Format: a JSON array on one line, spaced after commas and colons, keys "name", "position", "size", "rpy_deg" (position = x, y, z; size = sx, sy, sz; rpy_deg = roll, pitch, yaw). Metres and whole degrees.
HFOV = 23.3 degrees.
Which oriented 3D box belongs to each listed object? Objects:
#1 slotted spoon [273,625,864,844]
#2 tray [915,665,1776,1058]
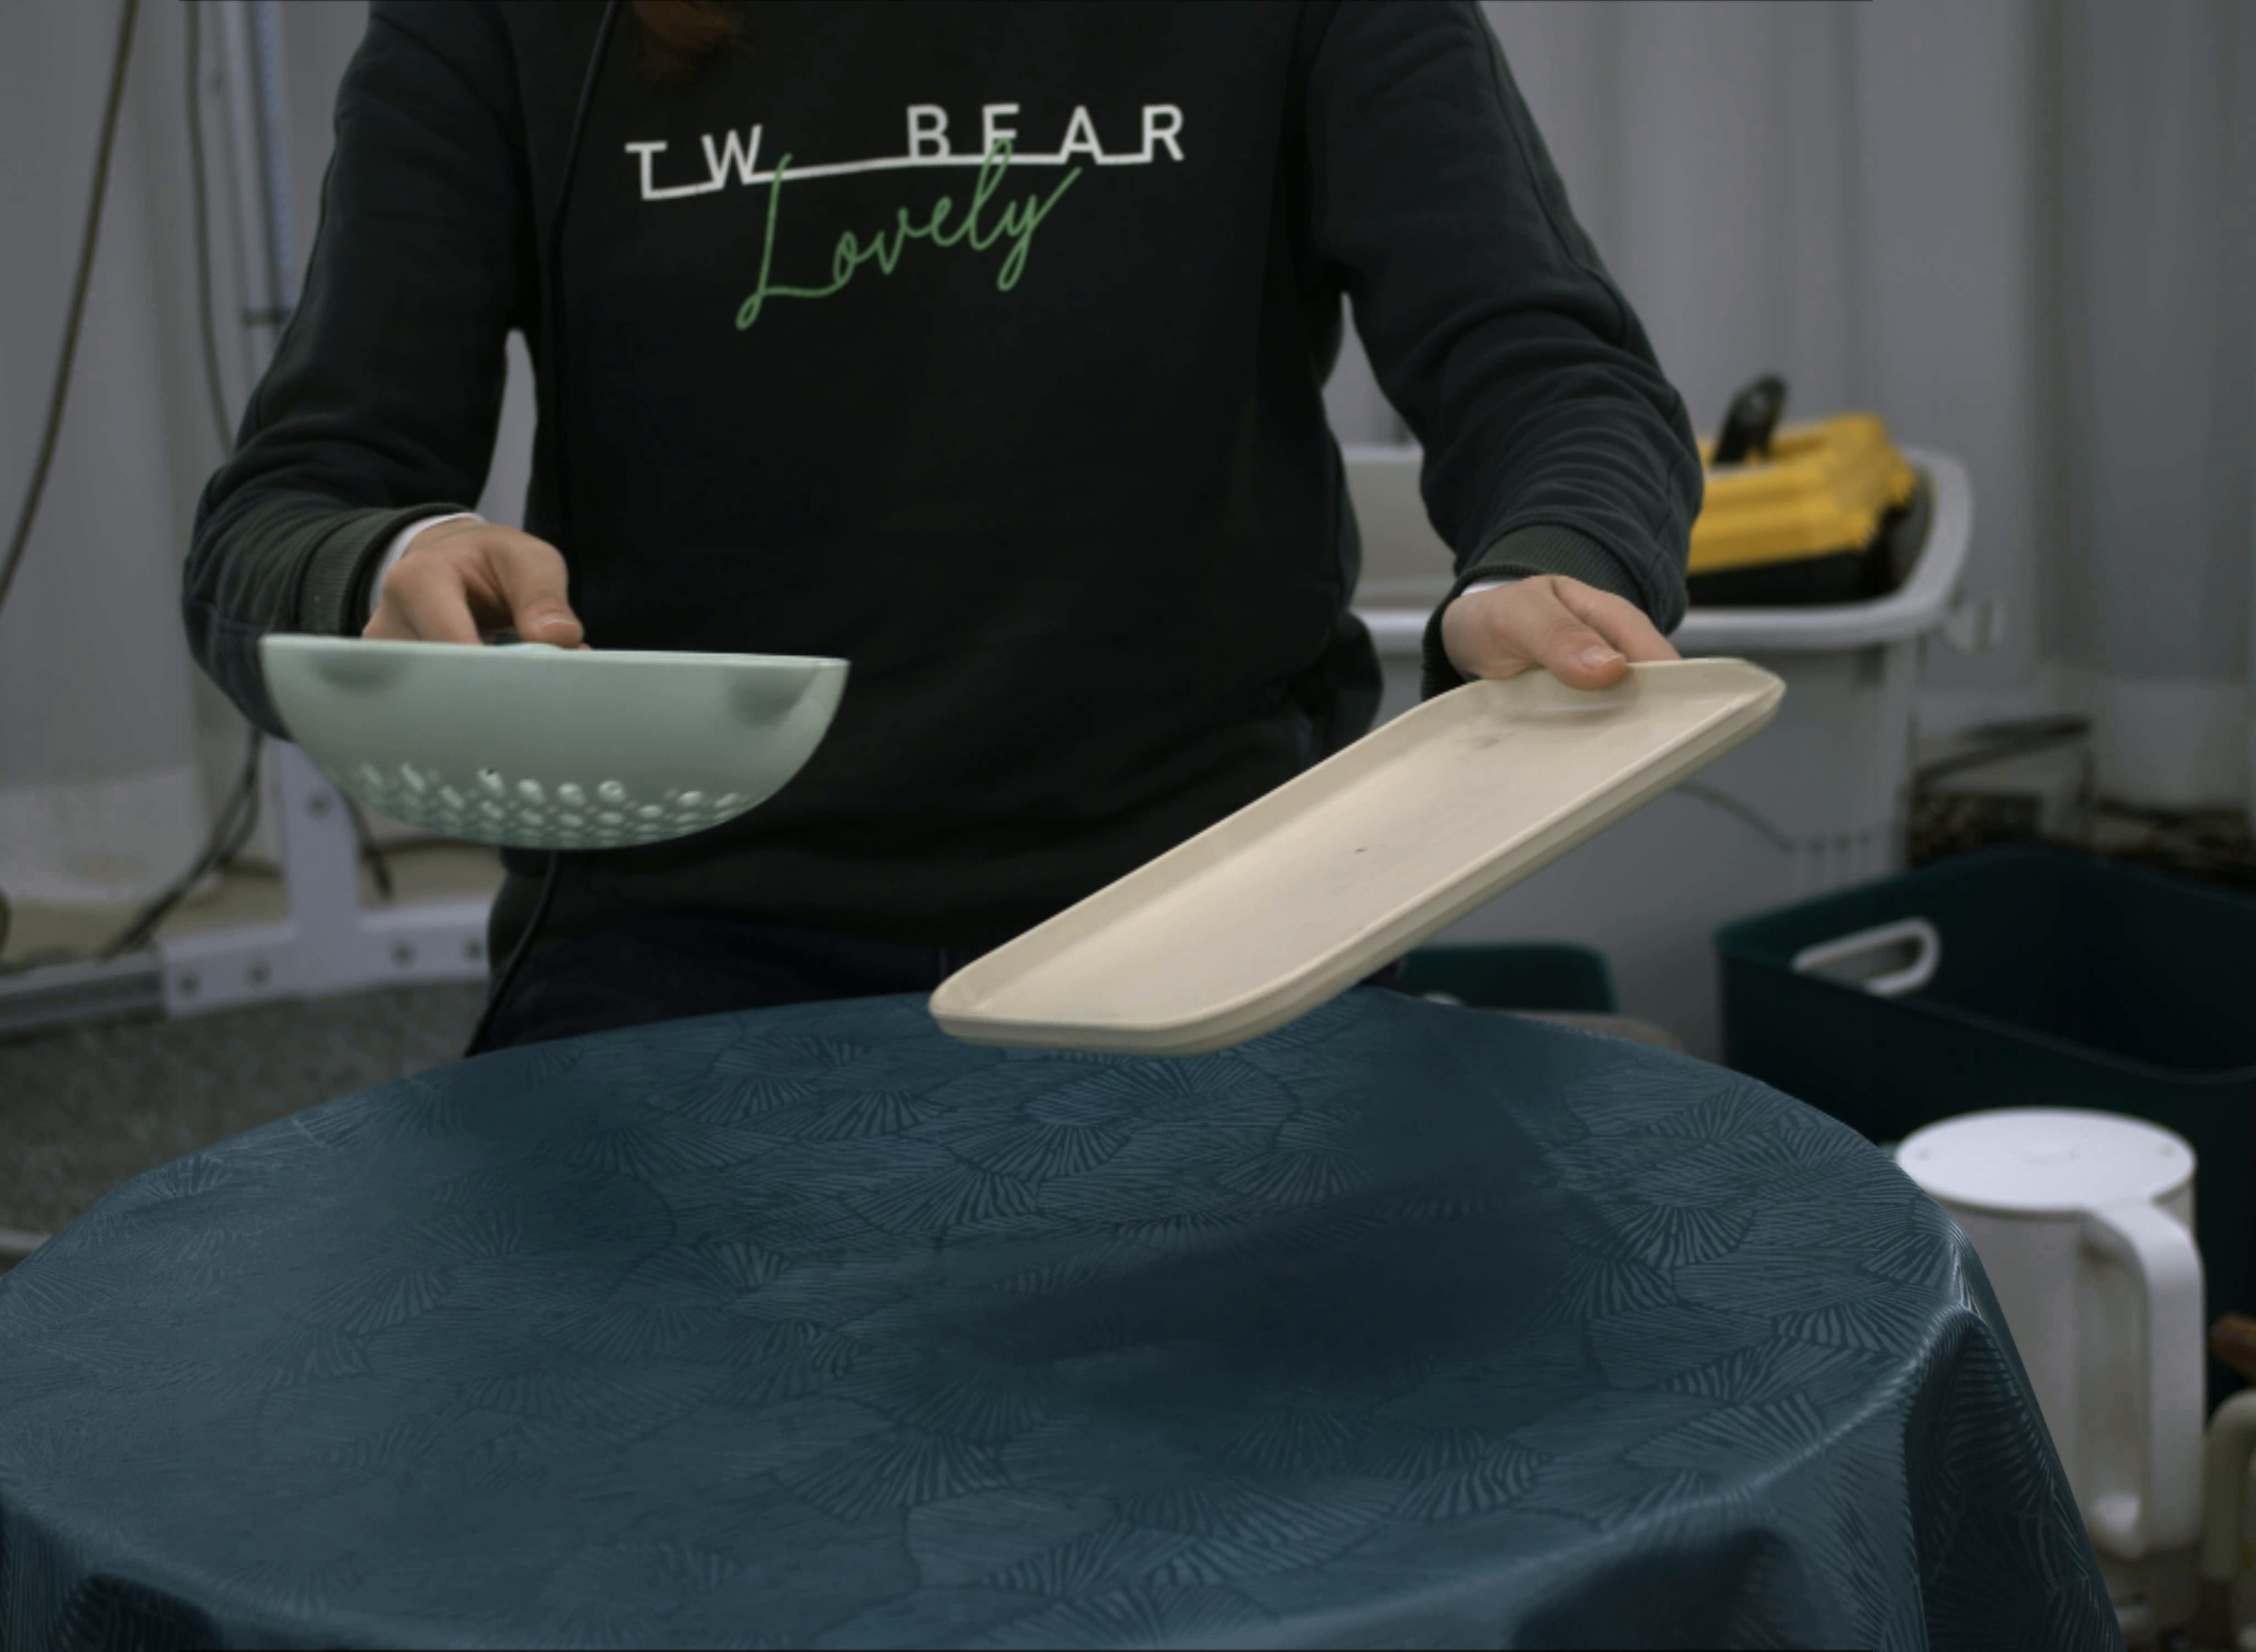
[{"name": "slotted spoon", "position": [-0.176, -0.043, 1.668], "size": [0.168, 0.075, 0.361], "rpy_deg": [4, 9, -9]}, {"name": "tray", "position": [0.065, 0.011, 1.589], "size": [0.240, 0.017, 0.172], "rpy_deg": [-29, 15, -29]}]
